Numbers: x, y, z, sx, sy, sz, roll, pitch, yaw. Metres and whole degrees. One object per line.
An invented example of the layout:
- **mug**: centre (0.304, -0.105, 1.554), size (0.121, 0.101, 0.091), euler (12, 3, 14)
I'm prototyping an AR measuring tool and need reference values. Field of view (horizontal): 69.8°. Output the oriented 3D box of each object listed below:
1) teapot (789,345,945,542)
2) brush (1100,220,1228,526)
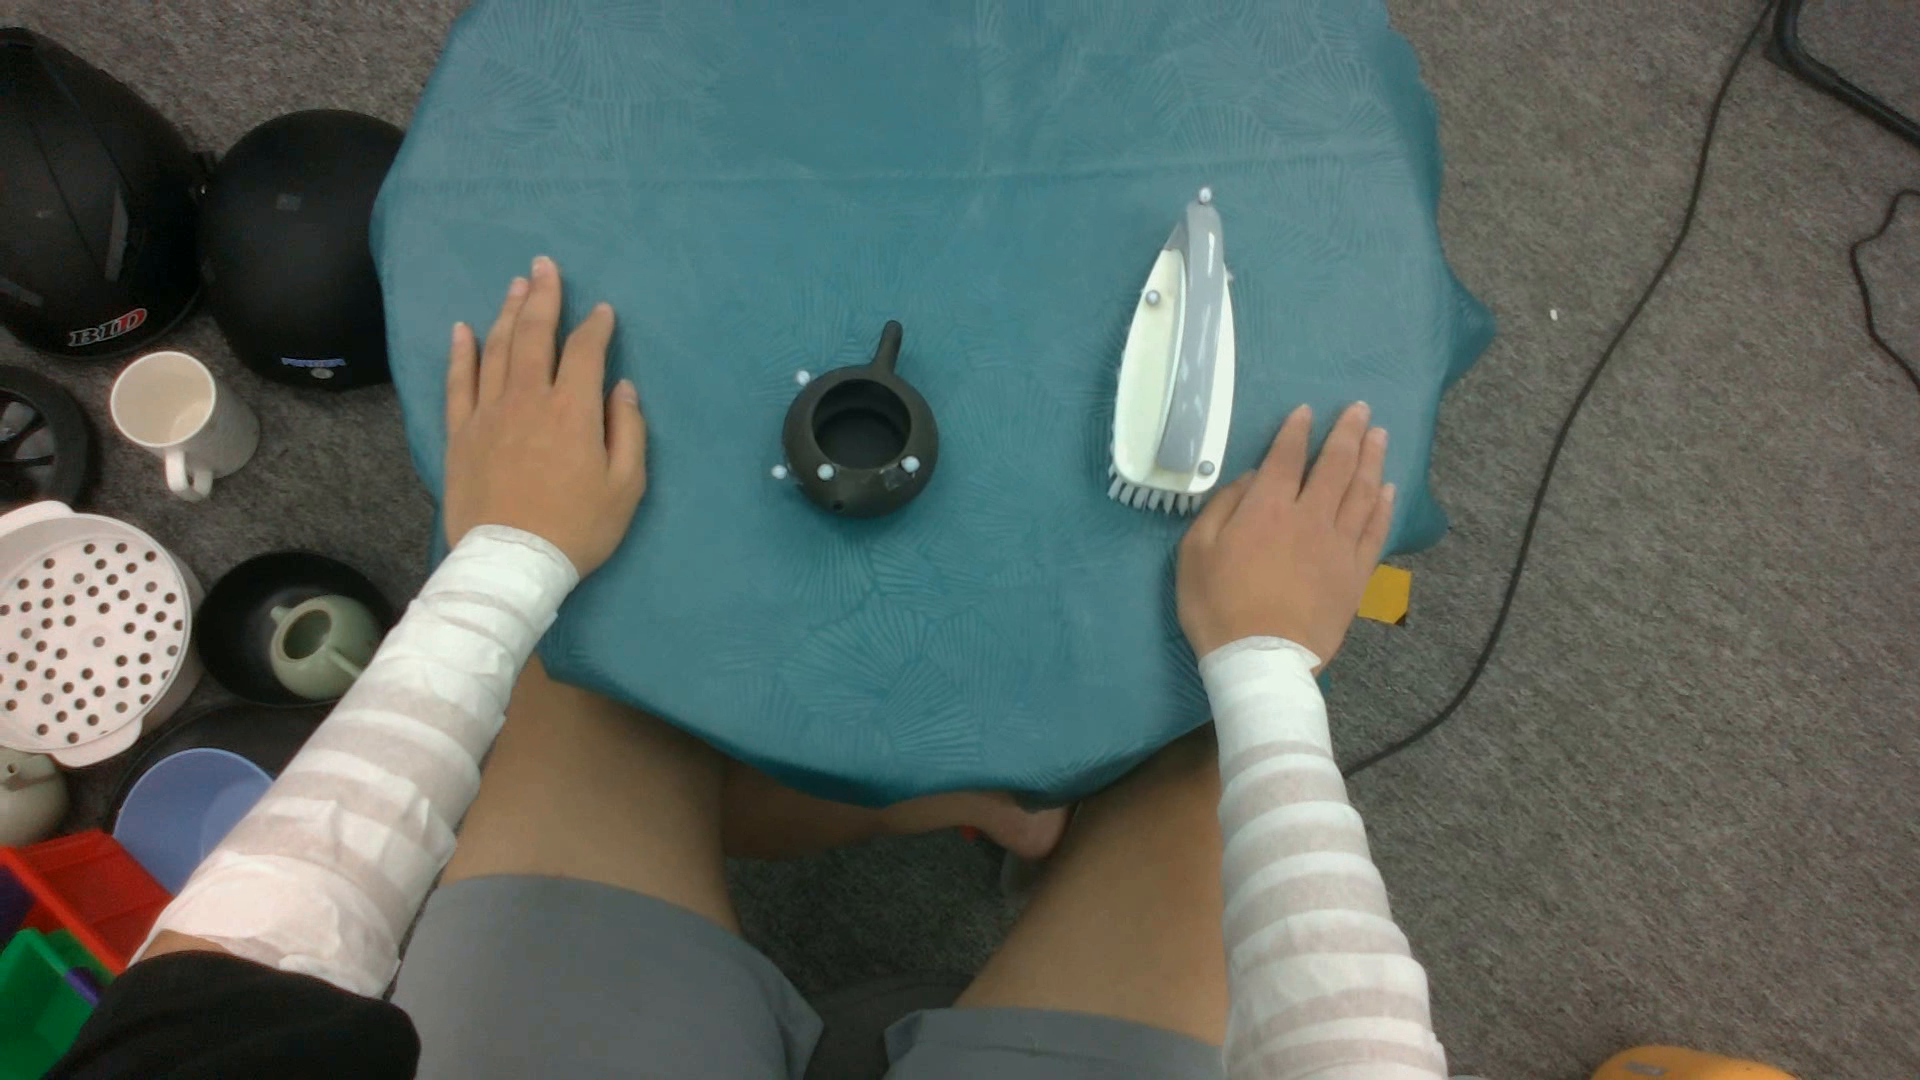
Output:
- **teapot**: centre (-0.046, -0.052, 0.737), size (0.083, 0.053, 0.114), euler (15, 75, 0)
- **brush**: centre (0.118, -0.103, 0.746), size (0.061, 0.094, 0.176), euler (10, 72, -5)
